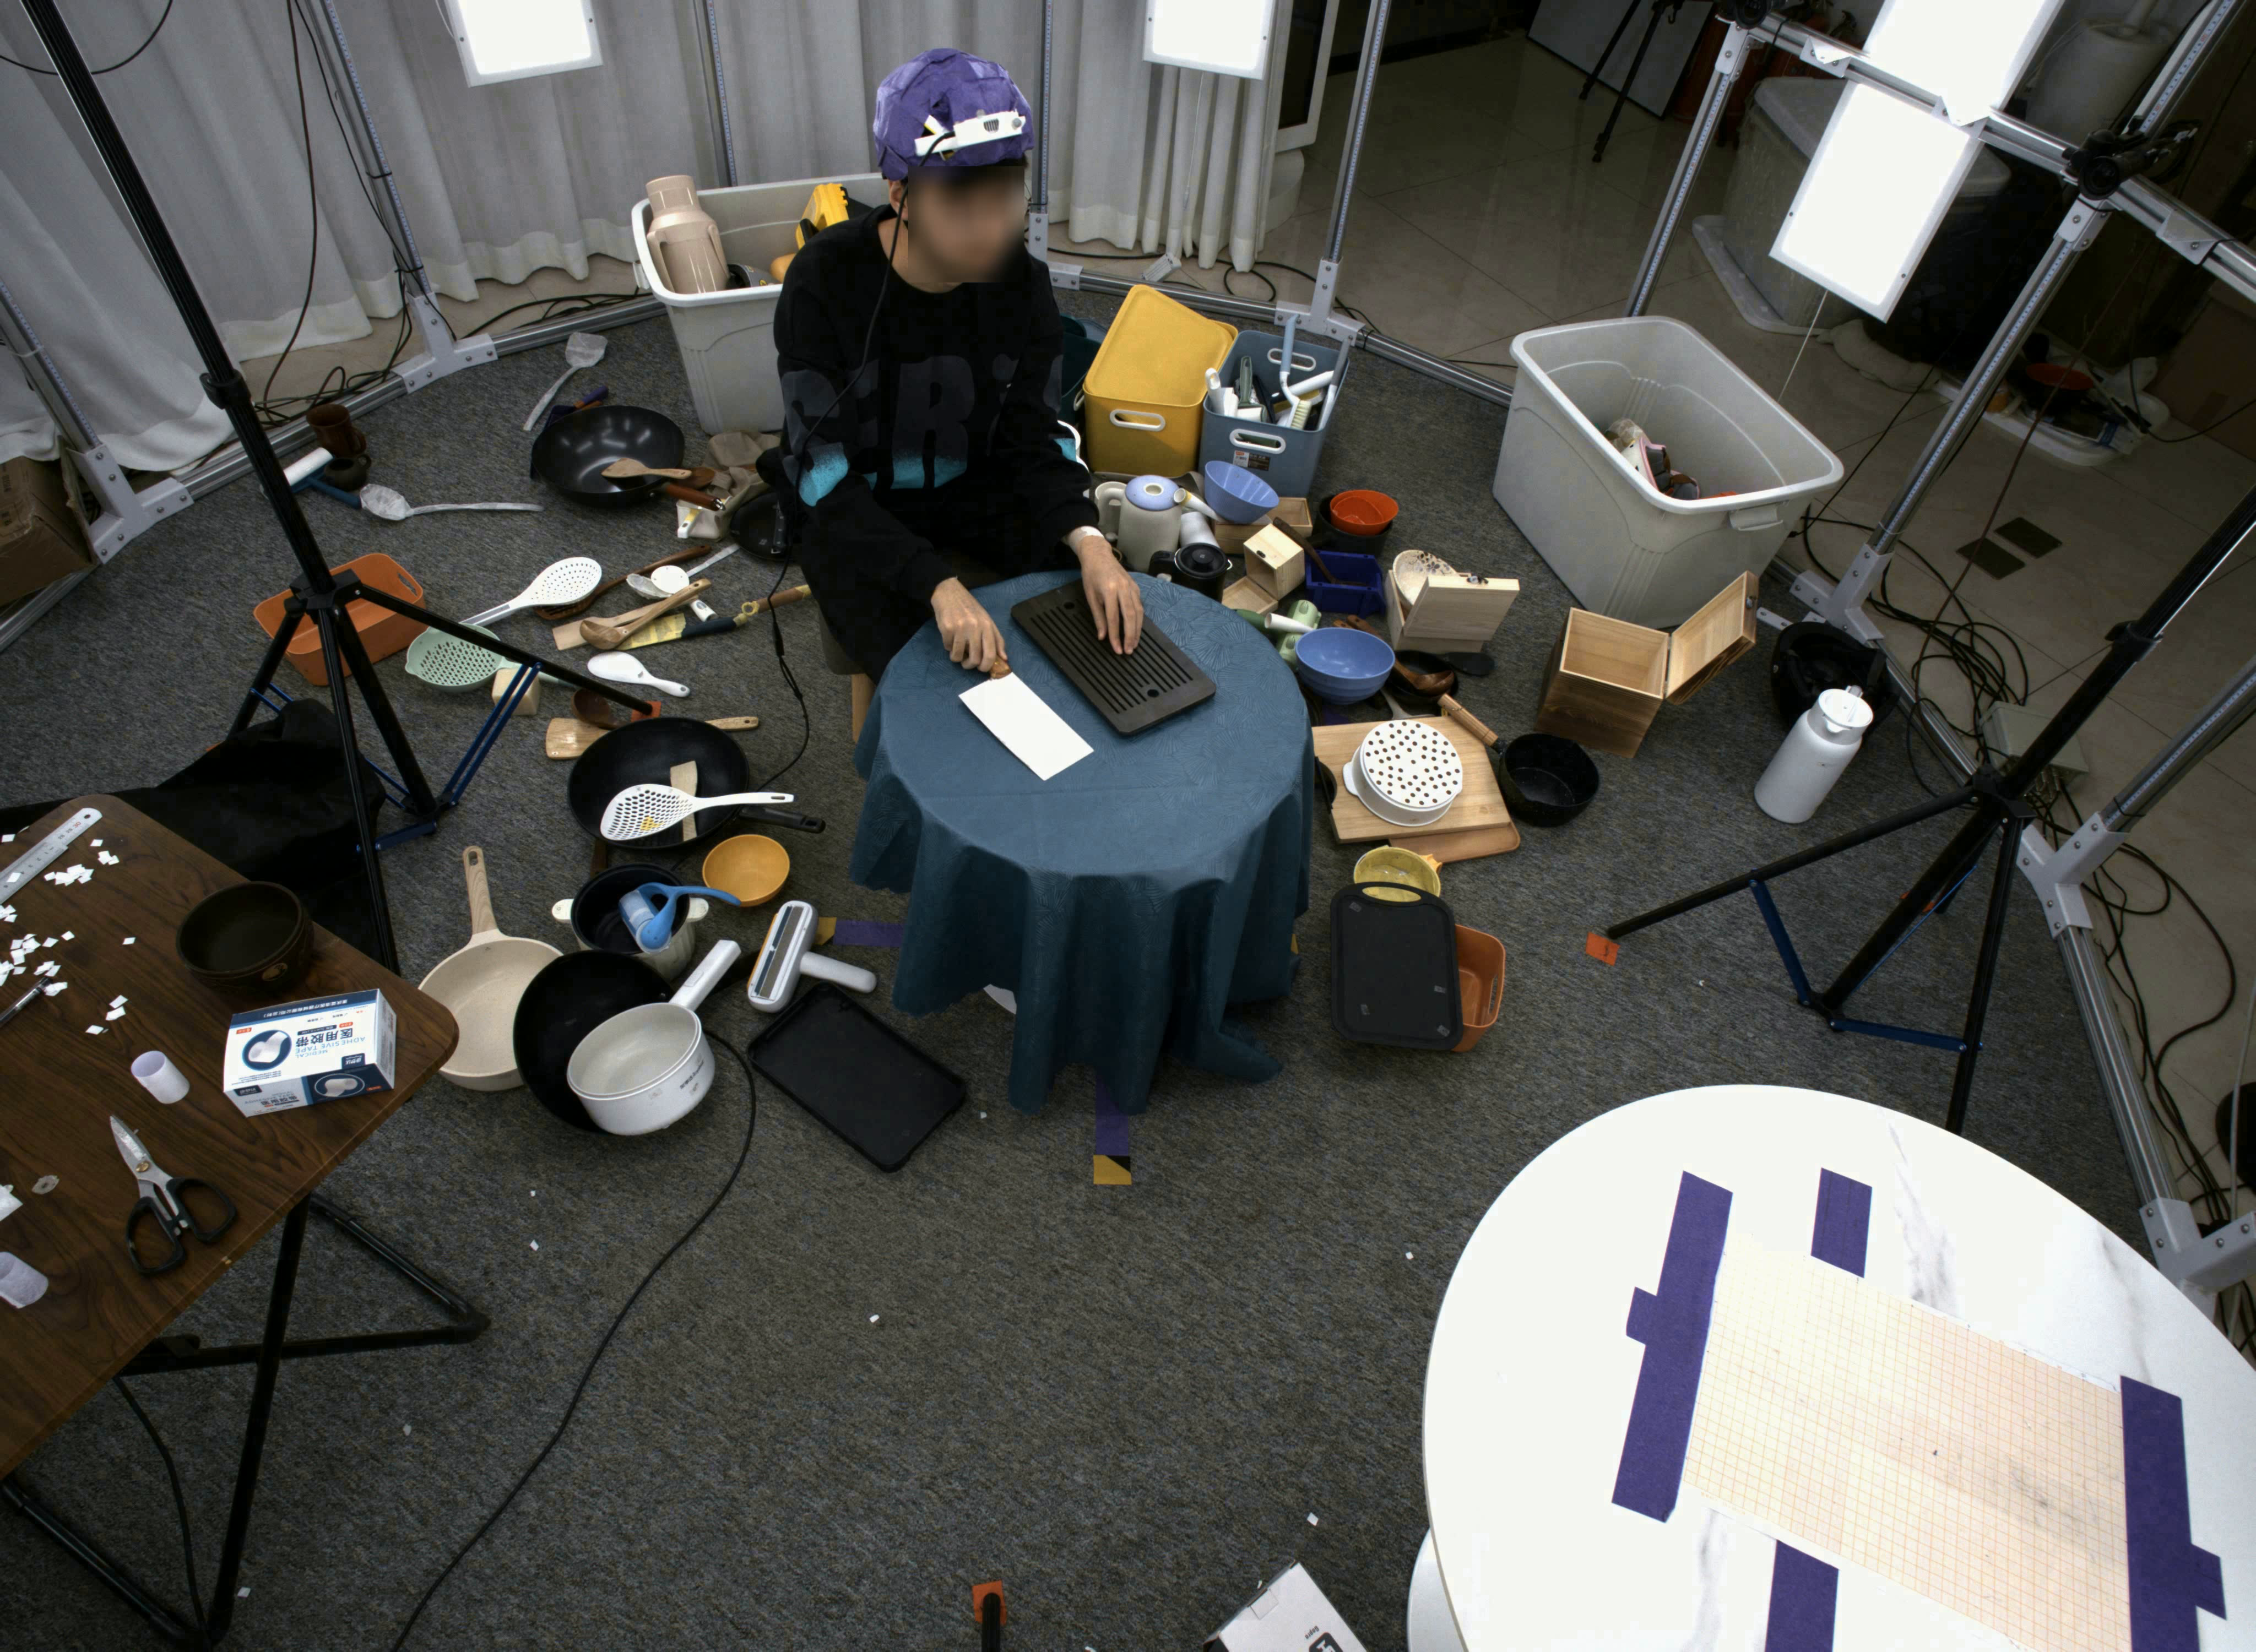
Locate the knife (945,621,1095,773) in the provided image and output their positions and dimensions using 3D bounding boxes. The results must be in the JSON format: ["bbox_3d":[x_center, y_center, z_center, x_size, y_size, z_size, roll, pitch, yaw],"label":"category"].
[{"bbox_3d":[-0.174,-0.180,1.798,0.093,0.020,0.310,-32,62,-27],"label":"knife"}]

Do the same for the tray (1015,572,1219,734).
[{"bbox_3d":[-0.019,-0.257,1.878,0.171,0.018,0.312,-25,55,-23],"label":"tray"}]
